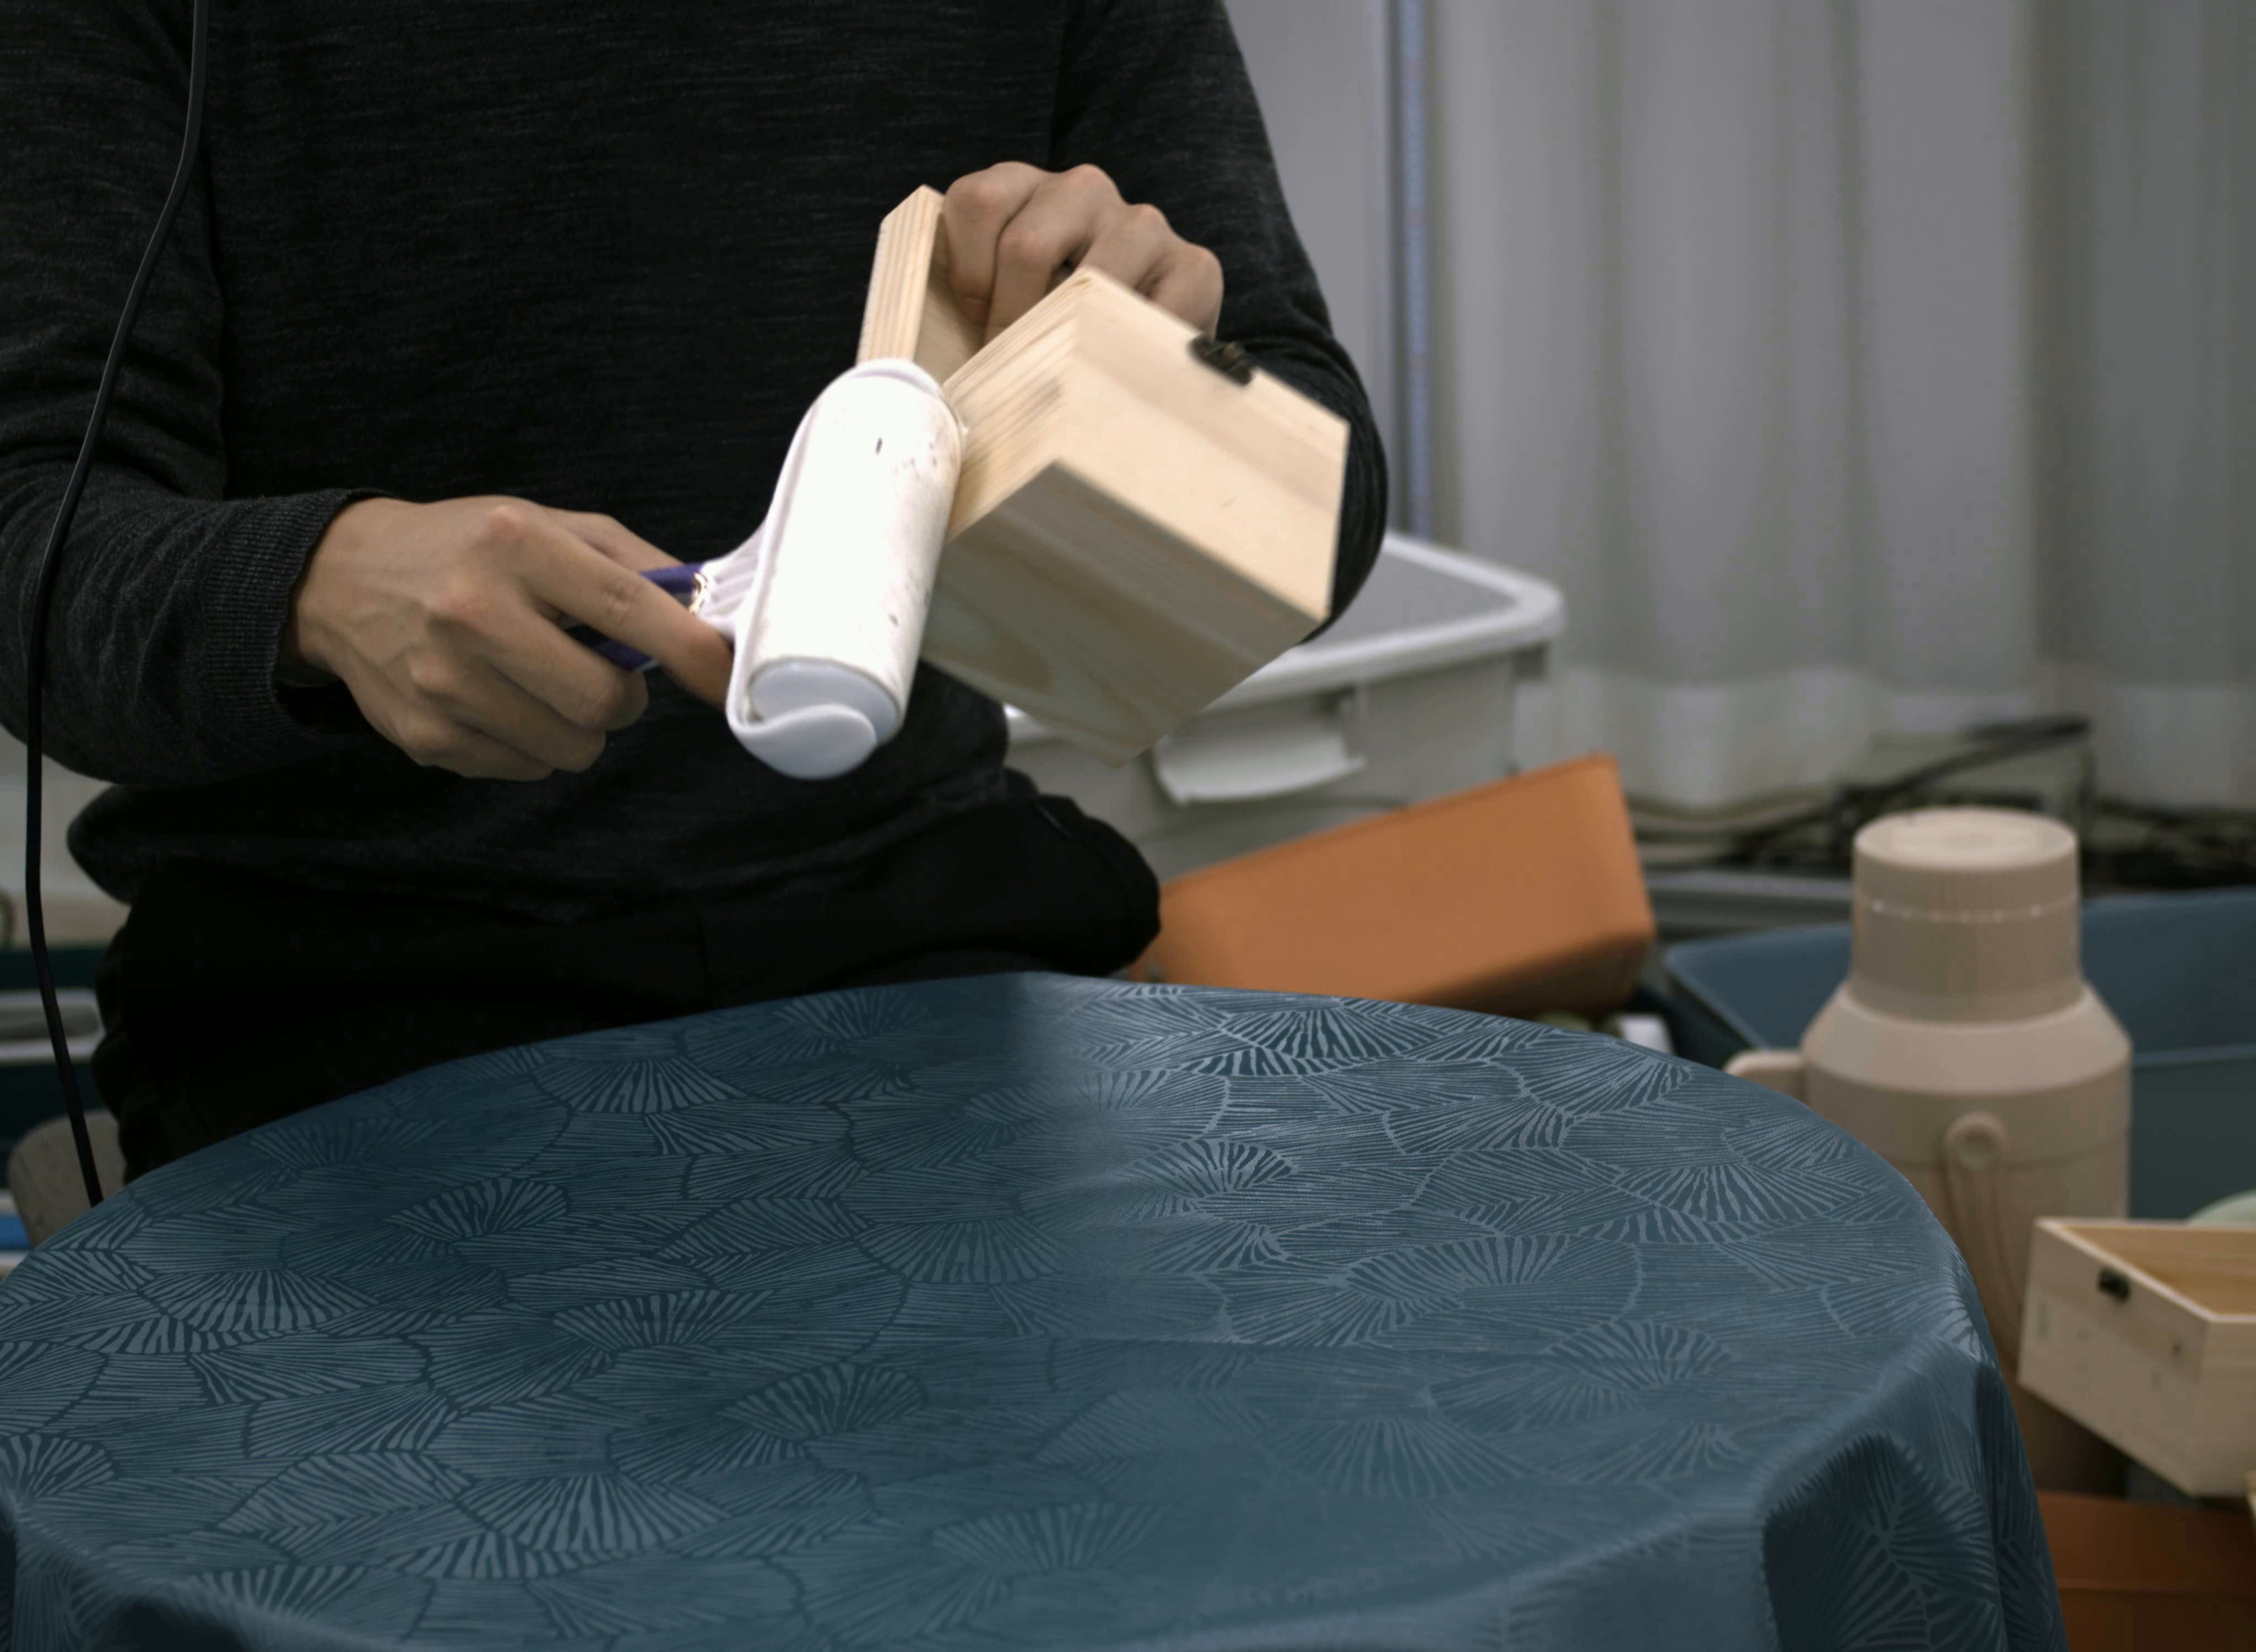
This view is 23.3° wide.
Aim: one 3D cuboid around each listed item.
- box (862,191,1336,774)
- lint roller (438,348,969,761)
[{"bbox_3d":[-0.010,-0.126,1.667,0.101,0.187,0.133,30,-43,-24],"label":"box"},{"bbox_3d":[-0.134,-0.073,1.597,0.181,0.049,0.135,-6,52,28],"label":"lint roller"}]
